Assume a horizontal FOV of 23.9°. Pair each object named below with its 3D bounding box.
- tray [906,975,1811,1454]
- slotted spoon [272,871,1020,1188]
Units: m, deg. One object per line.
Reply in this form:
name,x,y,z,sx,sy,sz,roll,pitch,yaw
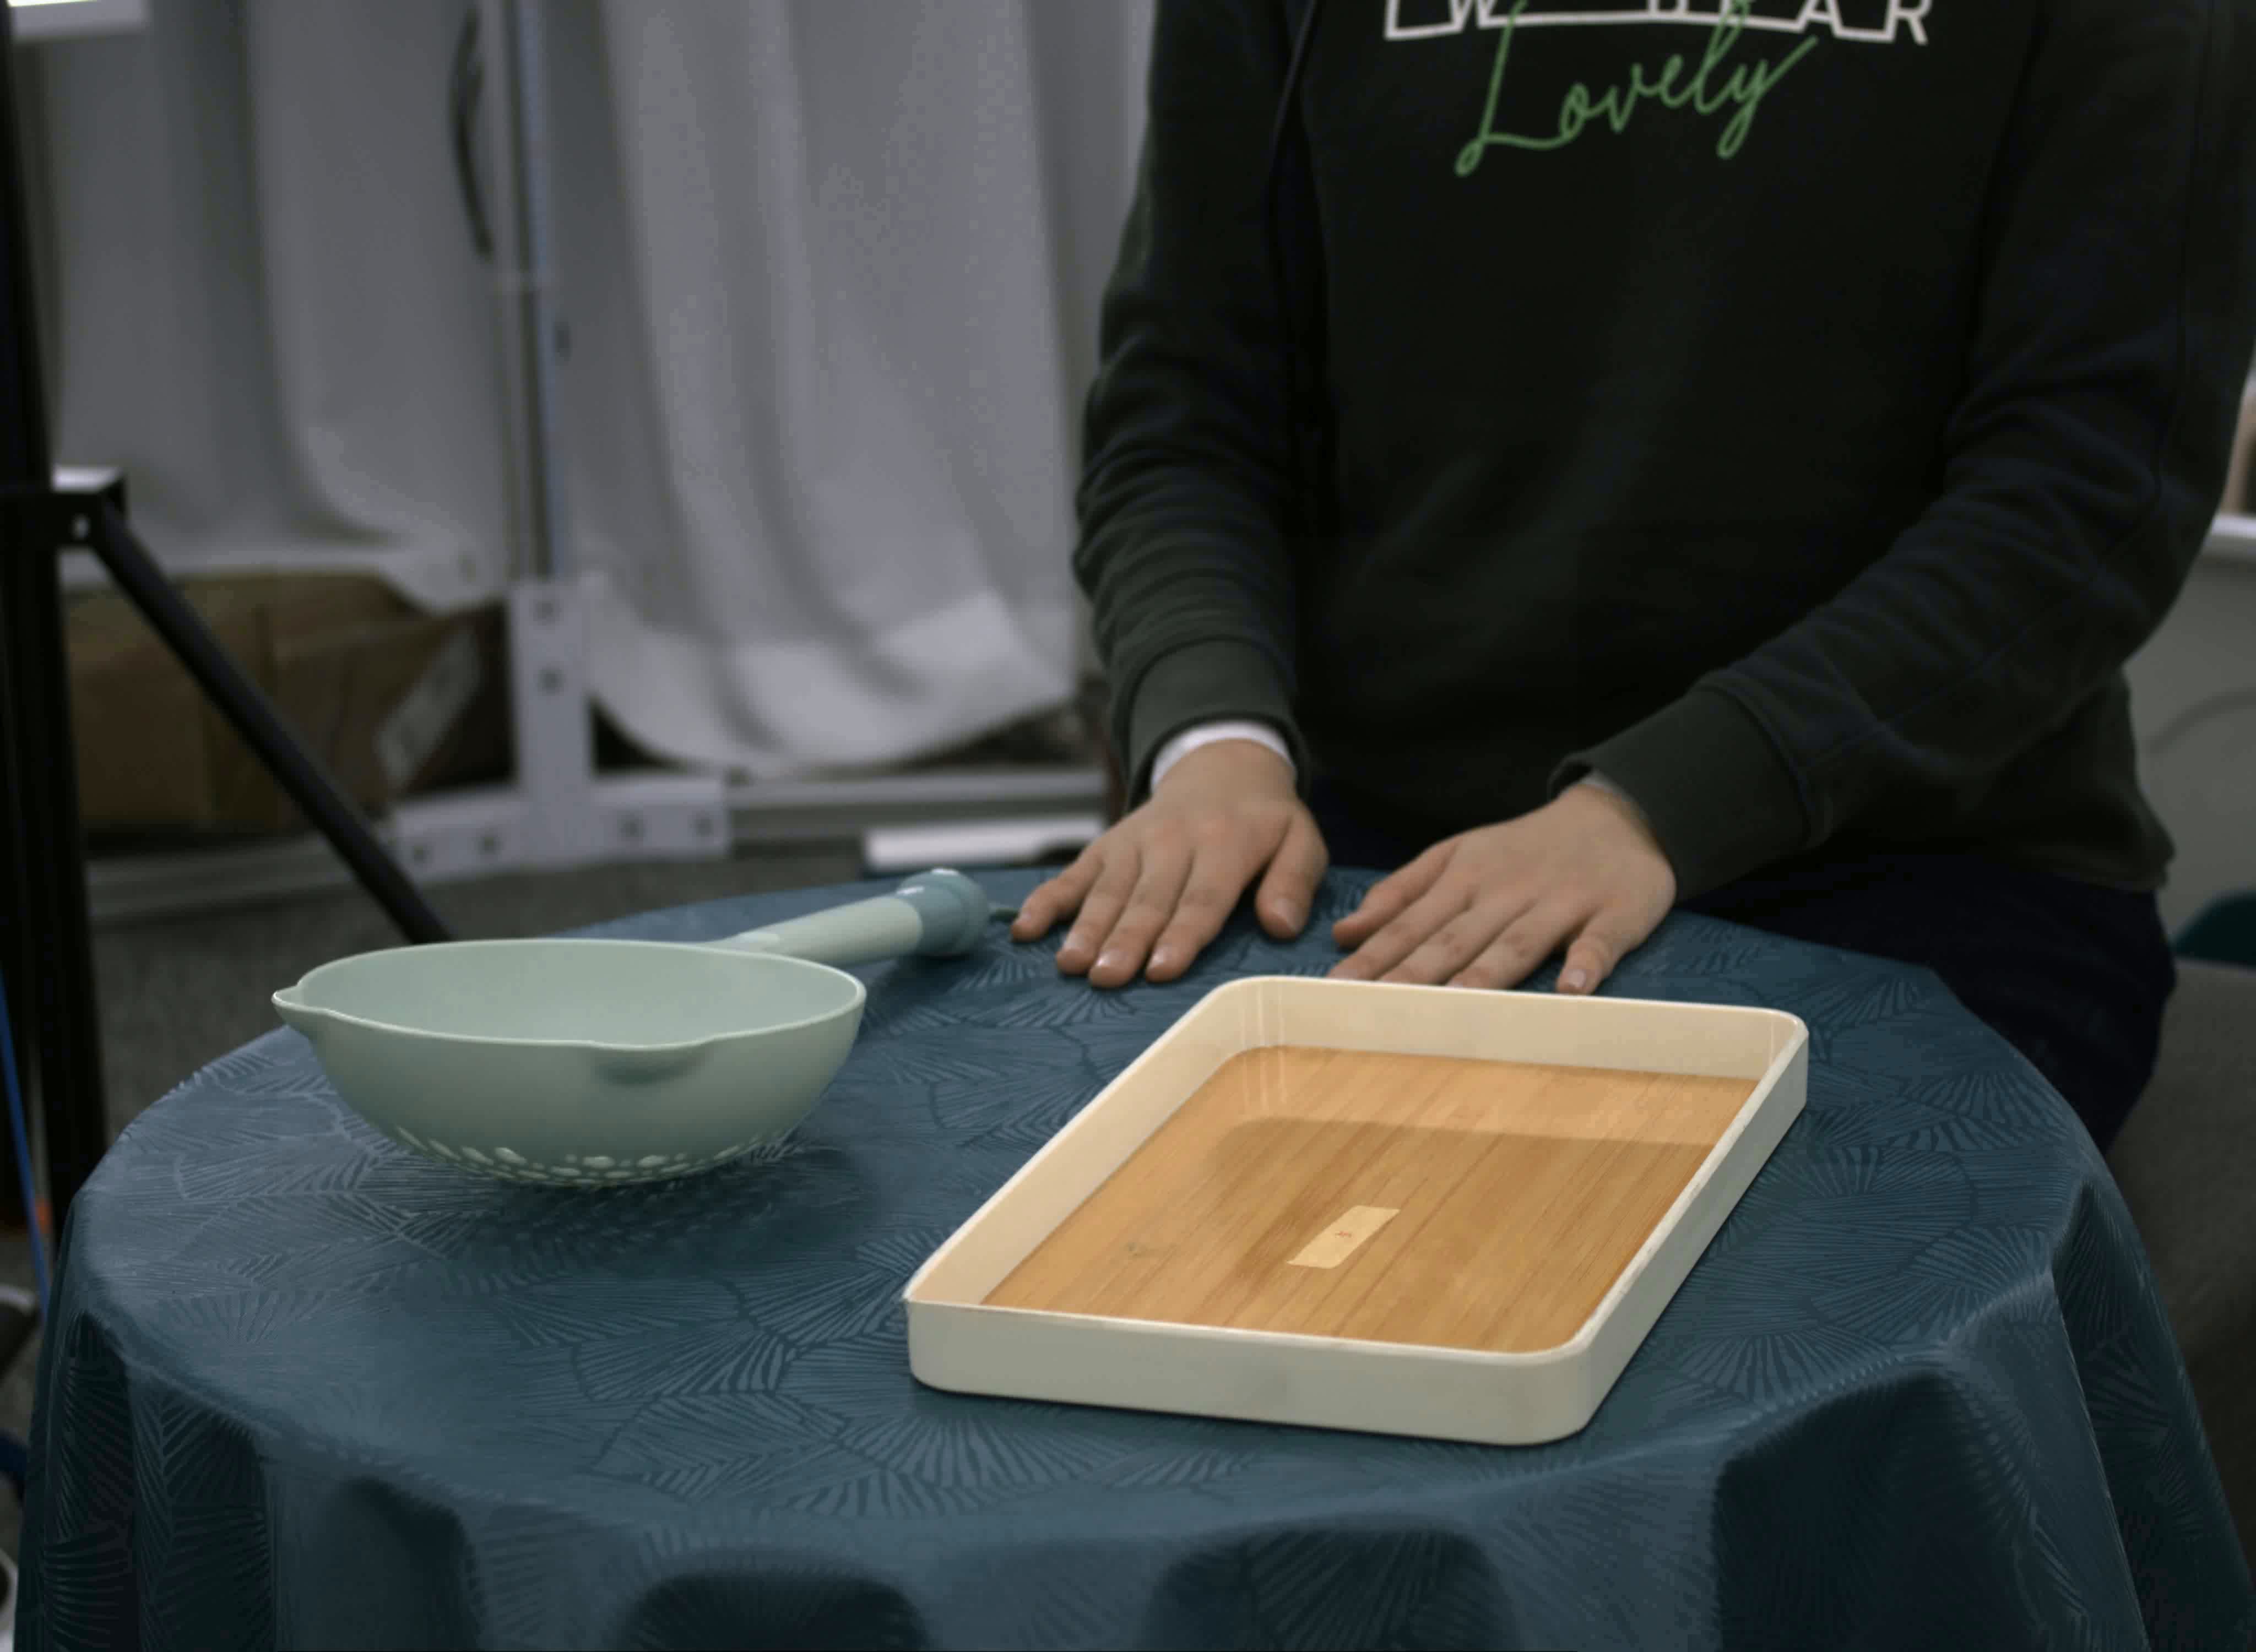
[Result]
tray,0.074,0.105,1.510,0.194,0.027,0.297,3,17,20
slotted spoon,-0.120,0.048,1.671,0.172,0.075,0.353,6,18,25
